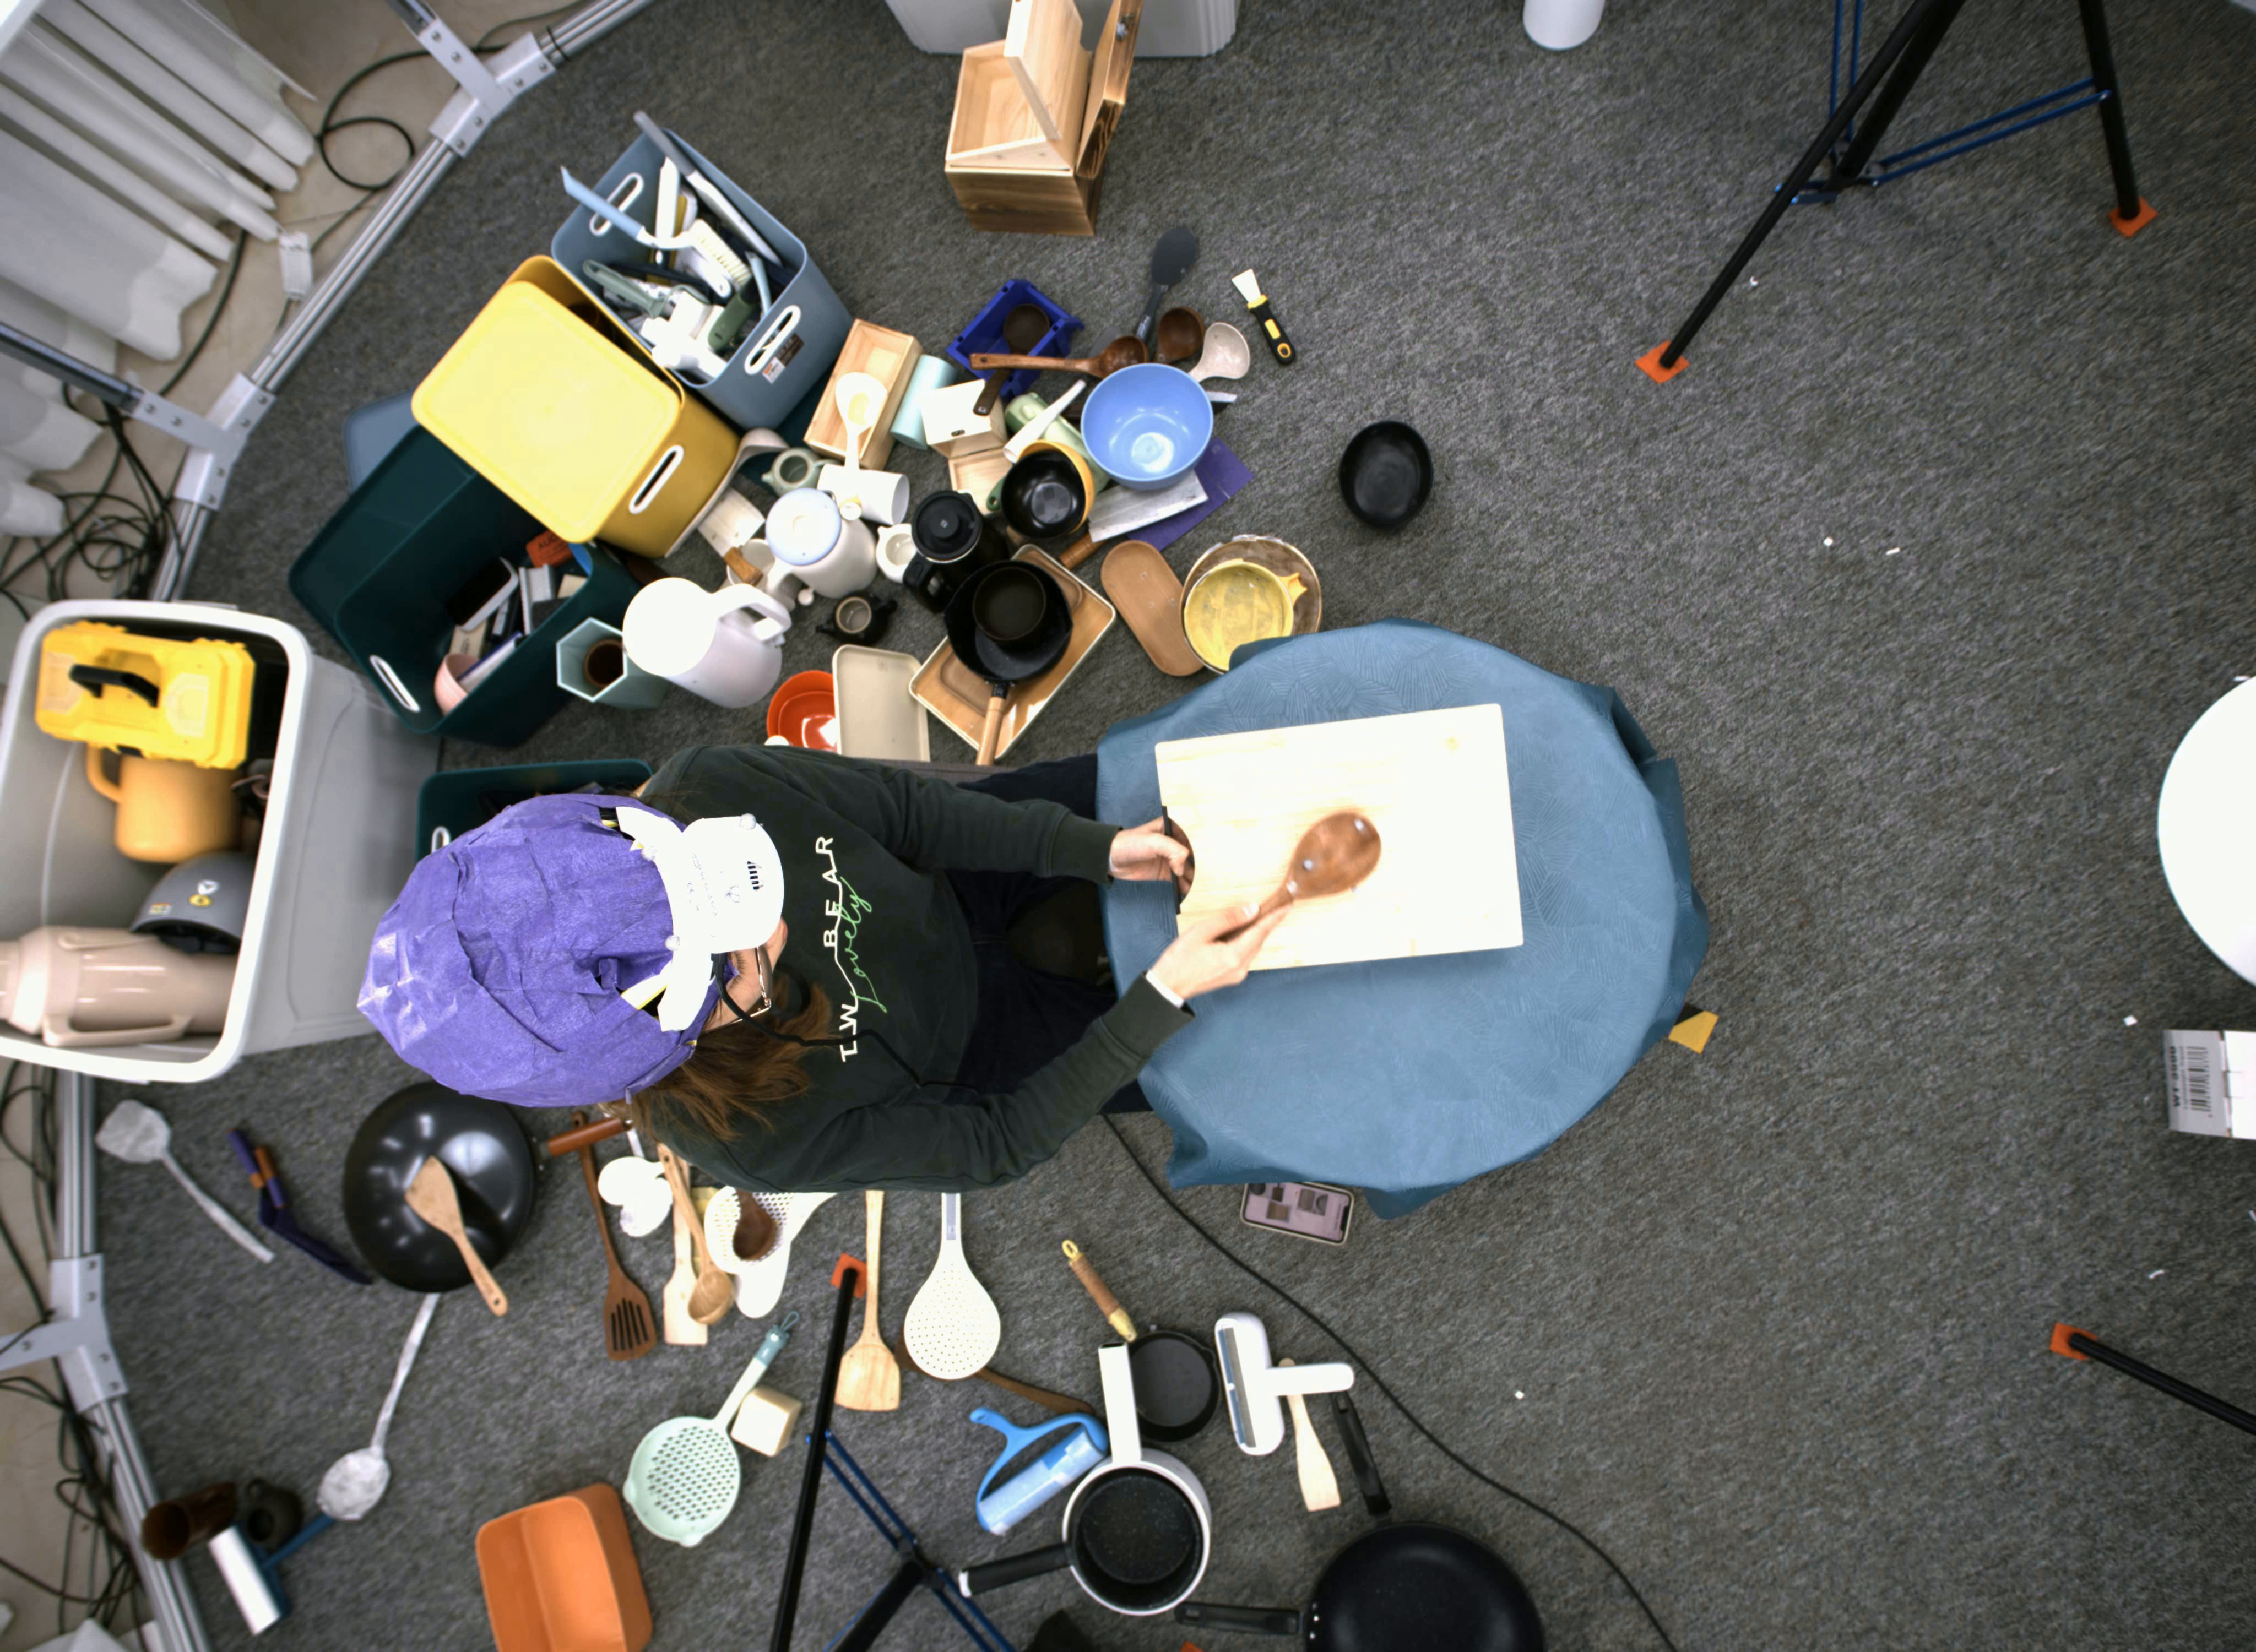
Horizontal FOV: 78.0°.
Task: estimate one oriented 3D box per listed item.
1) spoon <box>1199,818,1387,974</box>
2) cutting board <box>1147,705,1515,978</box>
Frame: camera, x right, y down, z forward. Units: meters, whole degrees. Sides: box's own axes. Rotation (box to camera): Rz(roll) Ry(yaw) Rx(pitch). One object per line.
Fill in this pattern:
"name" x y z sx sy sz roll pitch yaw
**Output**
"spoon" 0.156 0.071 1.339 0.217 0.017 0.075 -38 76 7
"cutting board" 0.205 0.017 1.381 0.350 0.023 0.252 -7 98 10
